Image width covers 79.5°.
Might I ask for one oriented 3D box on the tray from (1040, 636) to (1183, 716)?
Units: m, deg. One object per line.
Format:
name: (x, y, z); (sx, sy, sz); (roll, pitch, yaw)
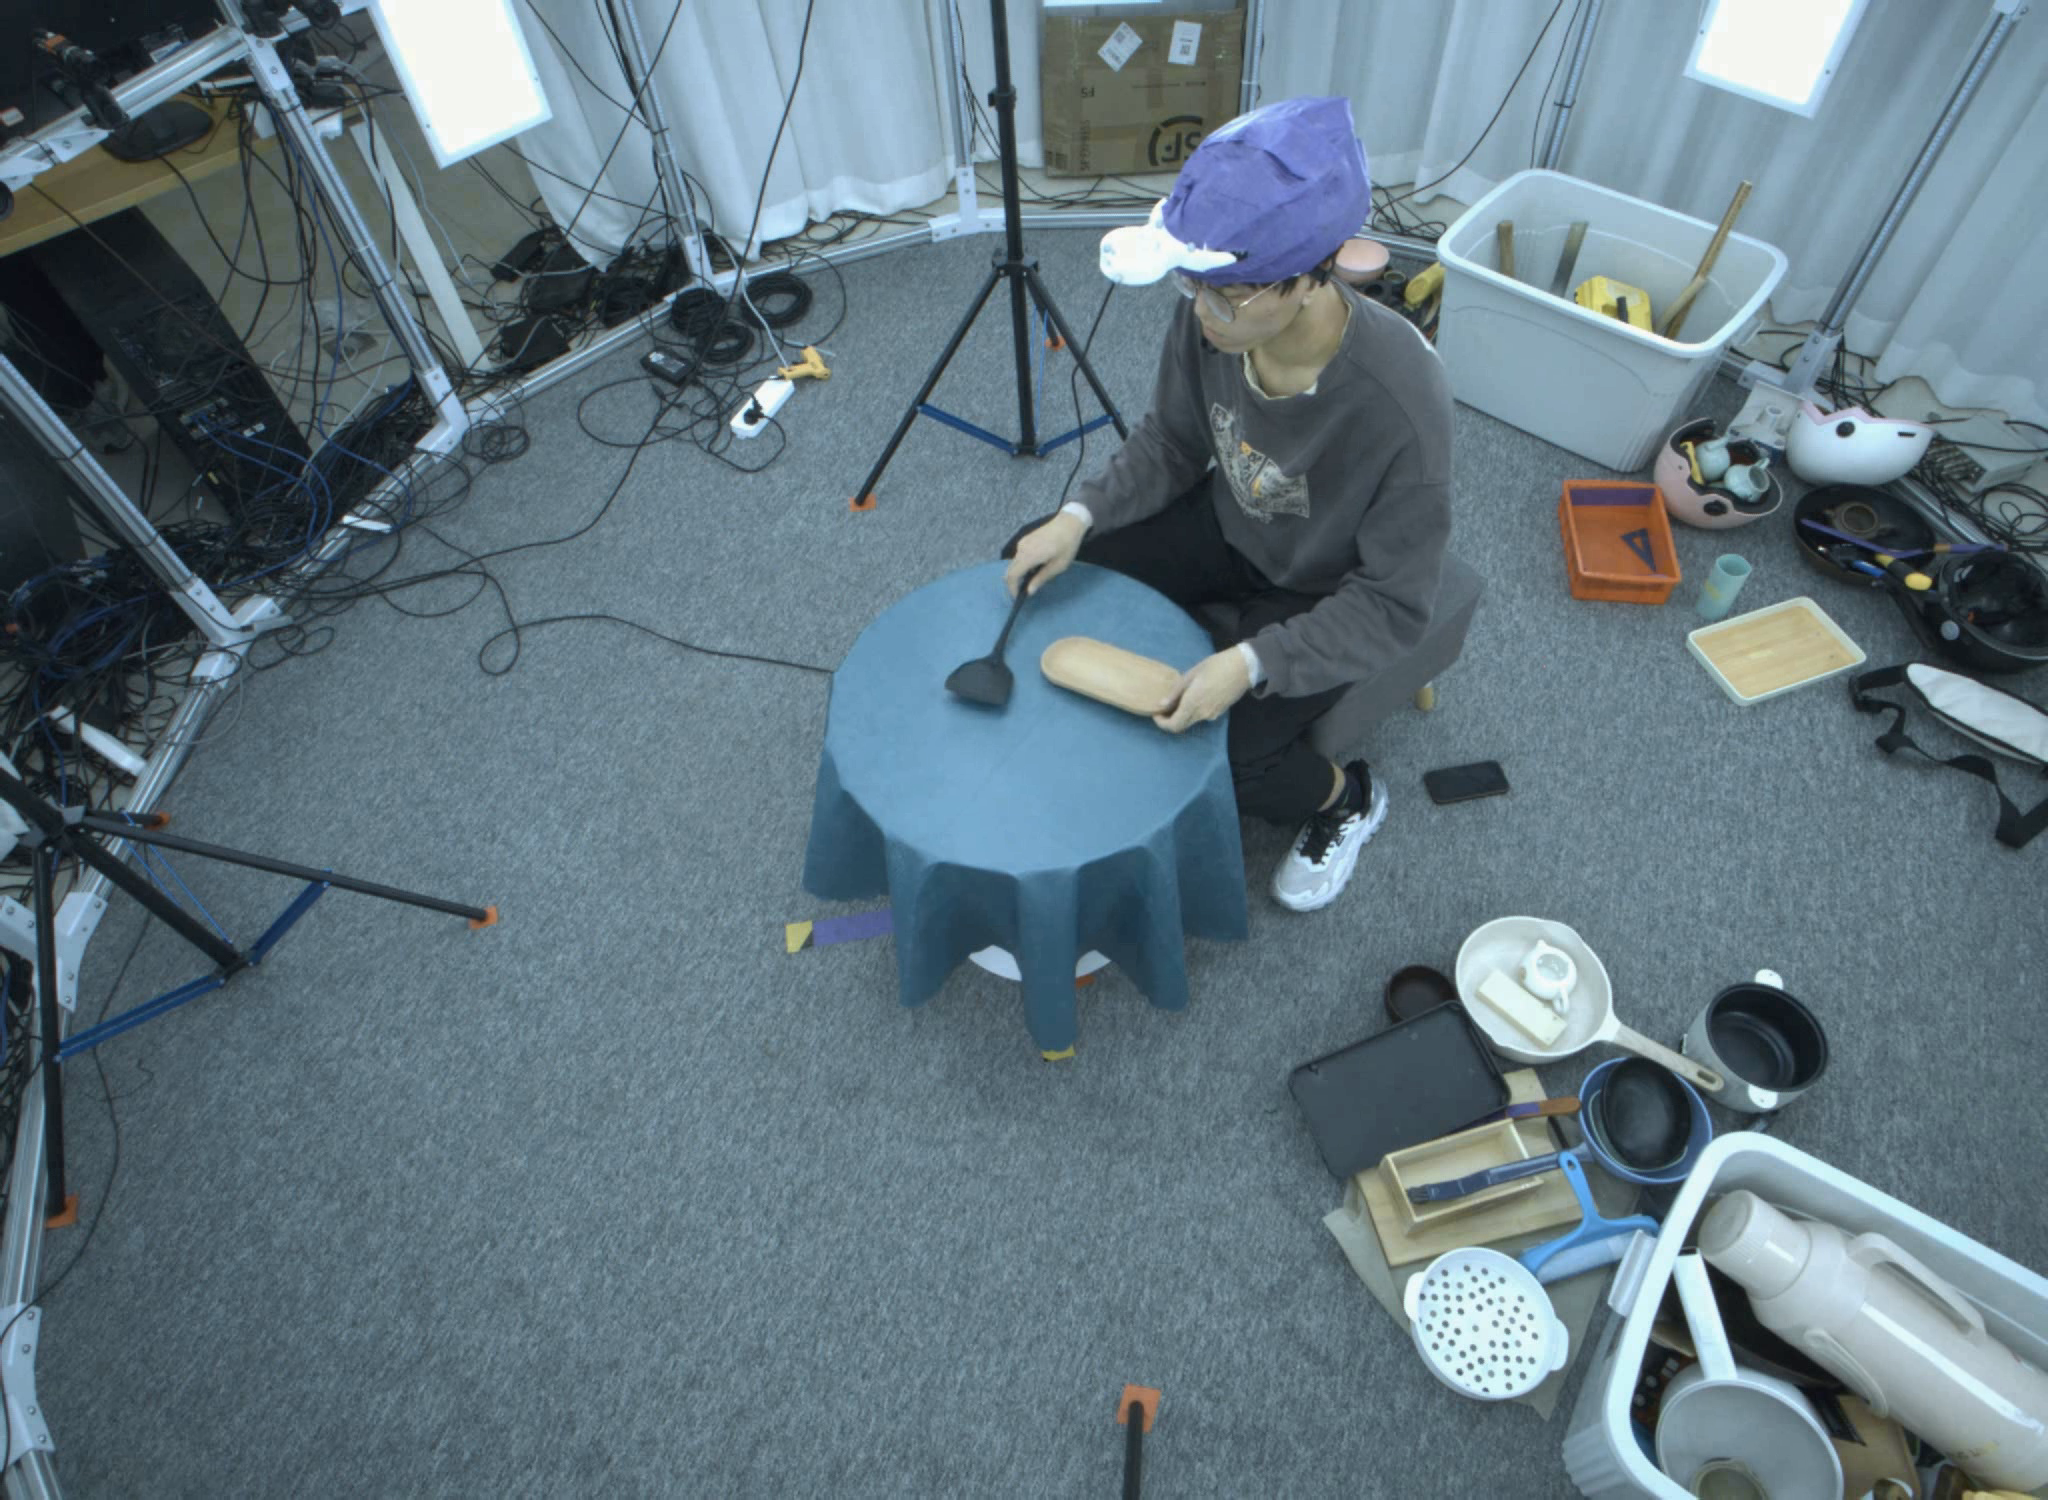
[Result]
tray: (0.129, -0.111, 1.838); (0.227, 0.020, 0.102); (21, 53, 24)

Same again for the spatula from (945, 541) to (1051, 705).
spatula: (-0.020, -0.205, 1.895); (0.099, 0.041, 0.325); (18, 66, 10)
